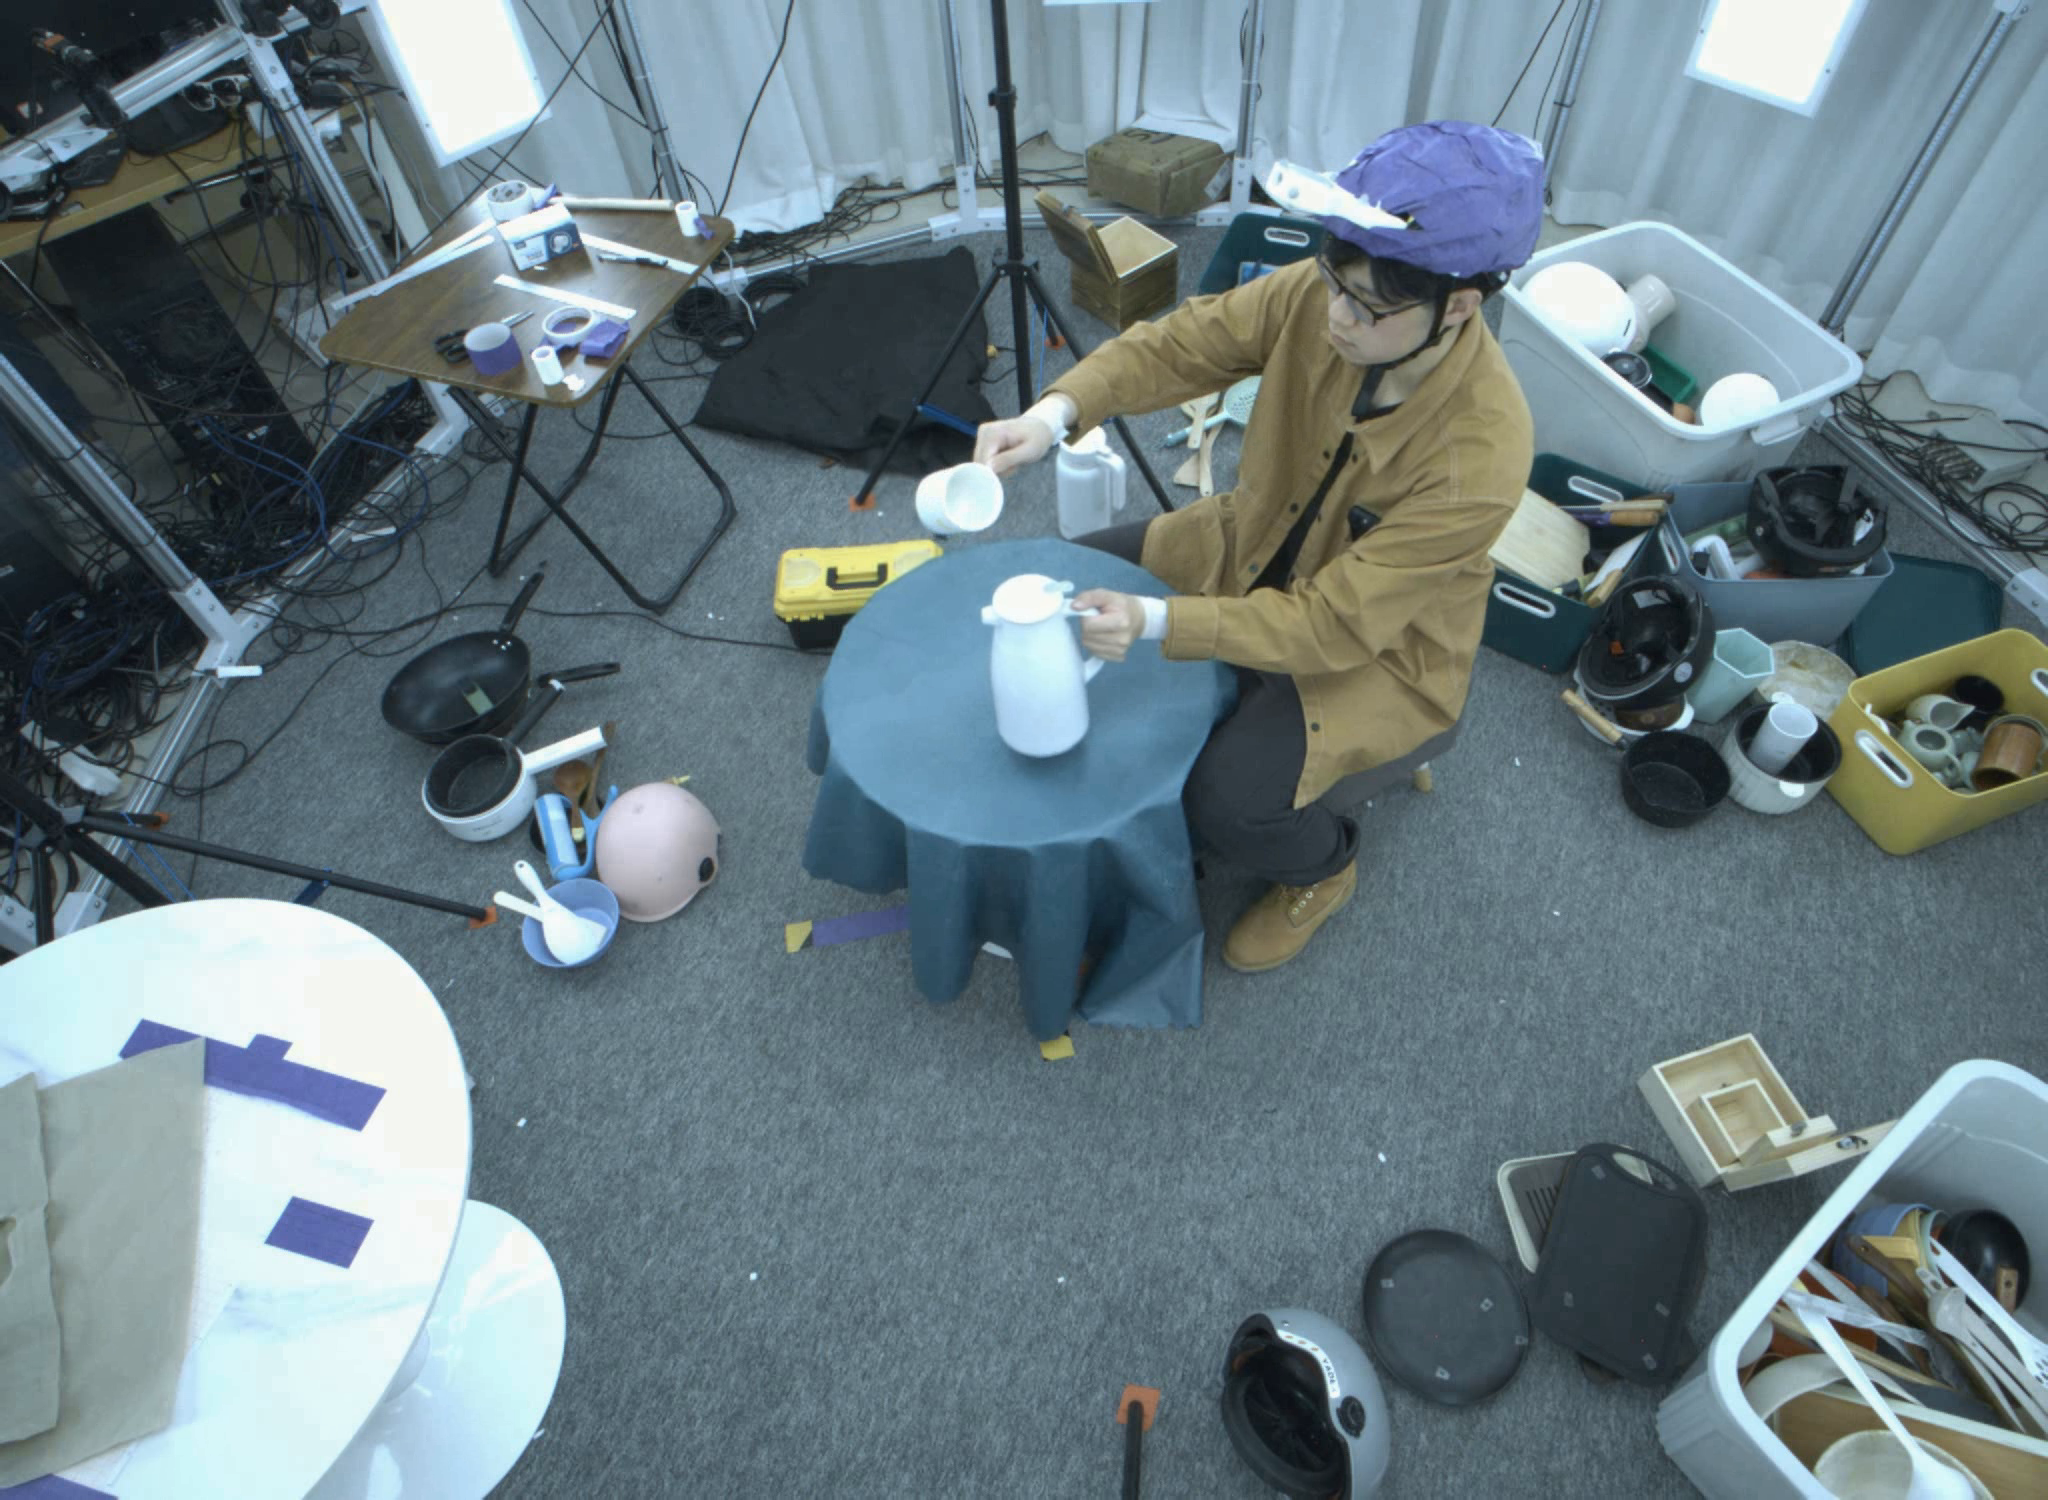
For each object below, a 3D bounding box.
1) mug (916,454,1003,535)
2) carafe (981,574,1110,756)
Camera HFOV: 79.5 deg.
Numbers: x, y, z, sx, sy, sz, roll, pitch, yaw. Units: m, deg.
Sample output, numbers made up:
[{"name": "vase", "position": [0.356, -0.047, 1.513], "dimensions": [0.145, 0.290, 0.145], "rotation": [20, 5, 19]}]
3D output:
[{"name": "mug", "position": [-0.079, -0.341, 1.604], "dimensions": [0.118, 0.086, 0.100], "rotation": [-56, 25, -12]}, {"name": "carafe", "position": [0.034, -0.125, 1.666], "dimensions": [0.168, 0.252, 0.130], "rotation": [-11, 49, -4]}]
